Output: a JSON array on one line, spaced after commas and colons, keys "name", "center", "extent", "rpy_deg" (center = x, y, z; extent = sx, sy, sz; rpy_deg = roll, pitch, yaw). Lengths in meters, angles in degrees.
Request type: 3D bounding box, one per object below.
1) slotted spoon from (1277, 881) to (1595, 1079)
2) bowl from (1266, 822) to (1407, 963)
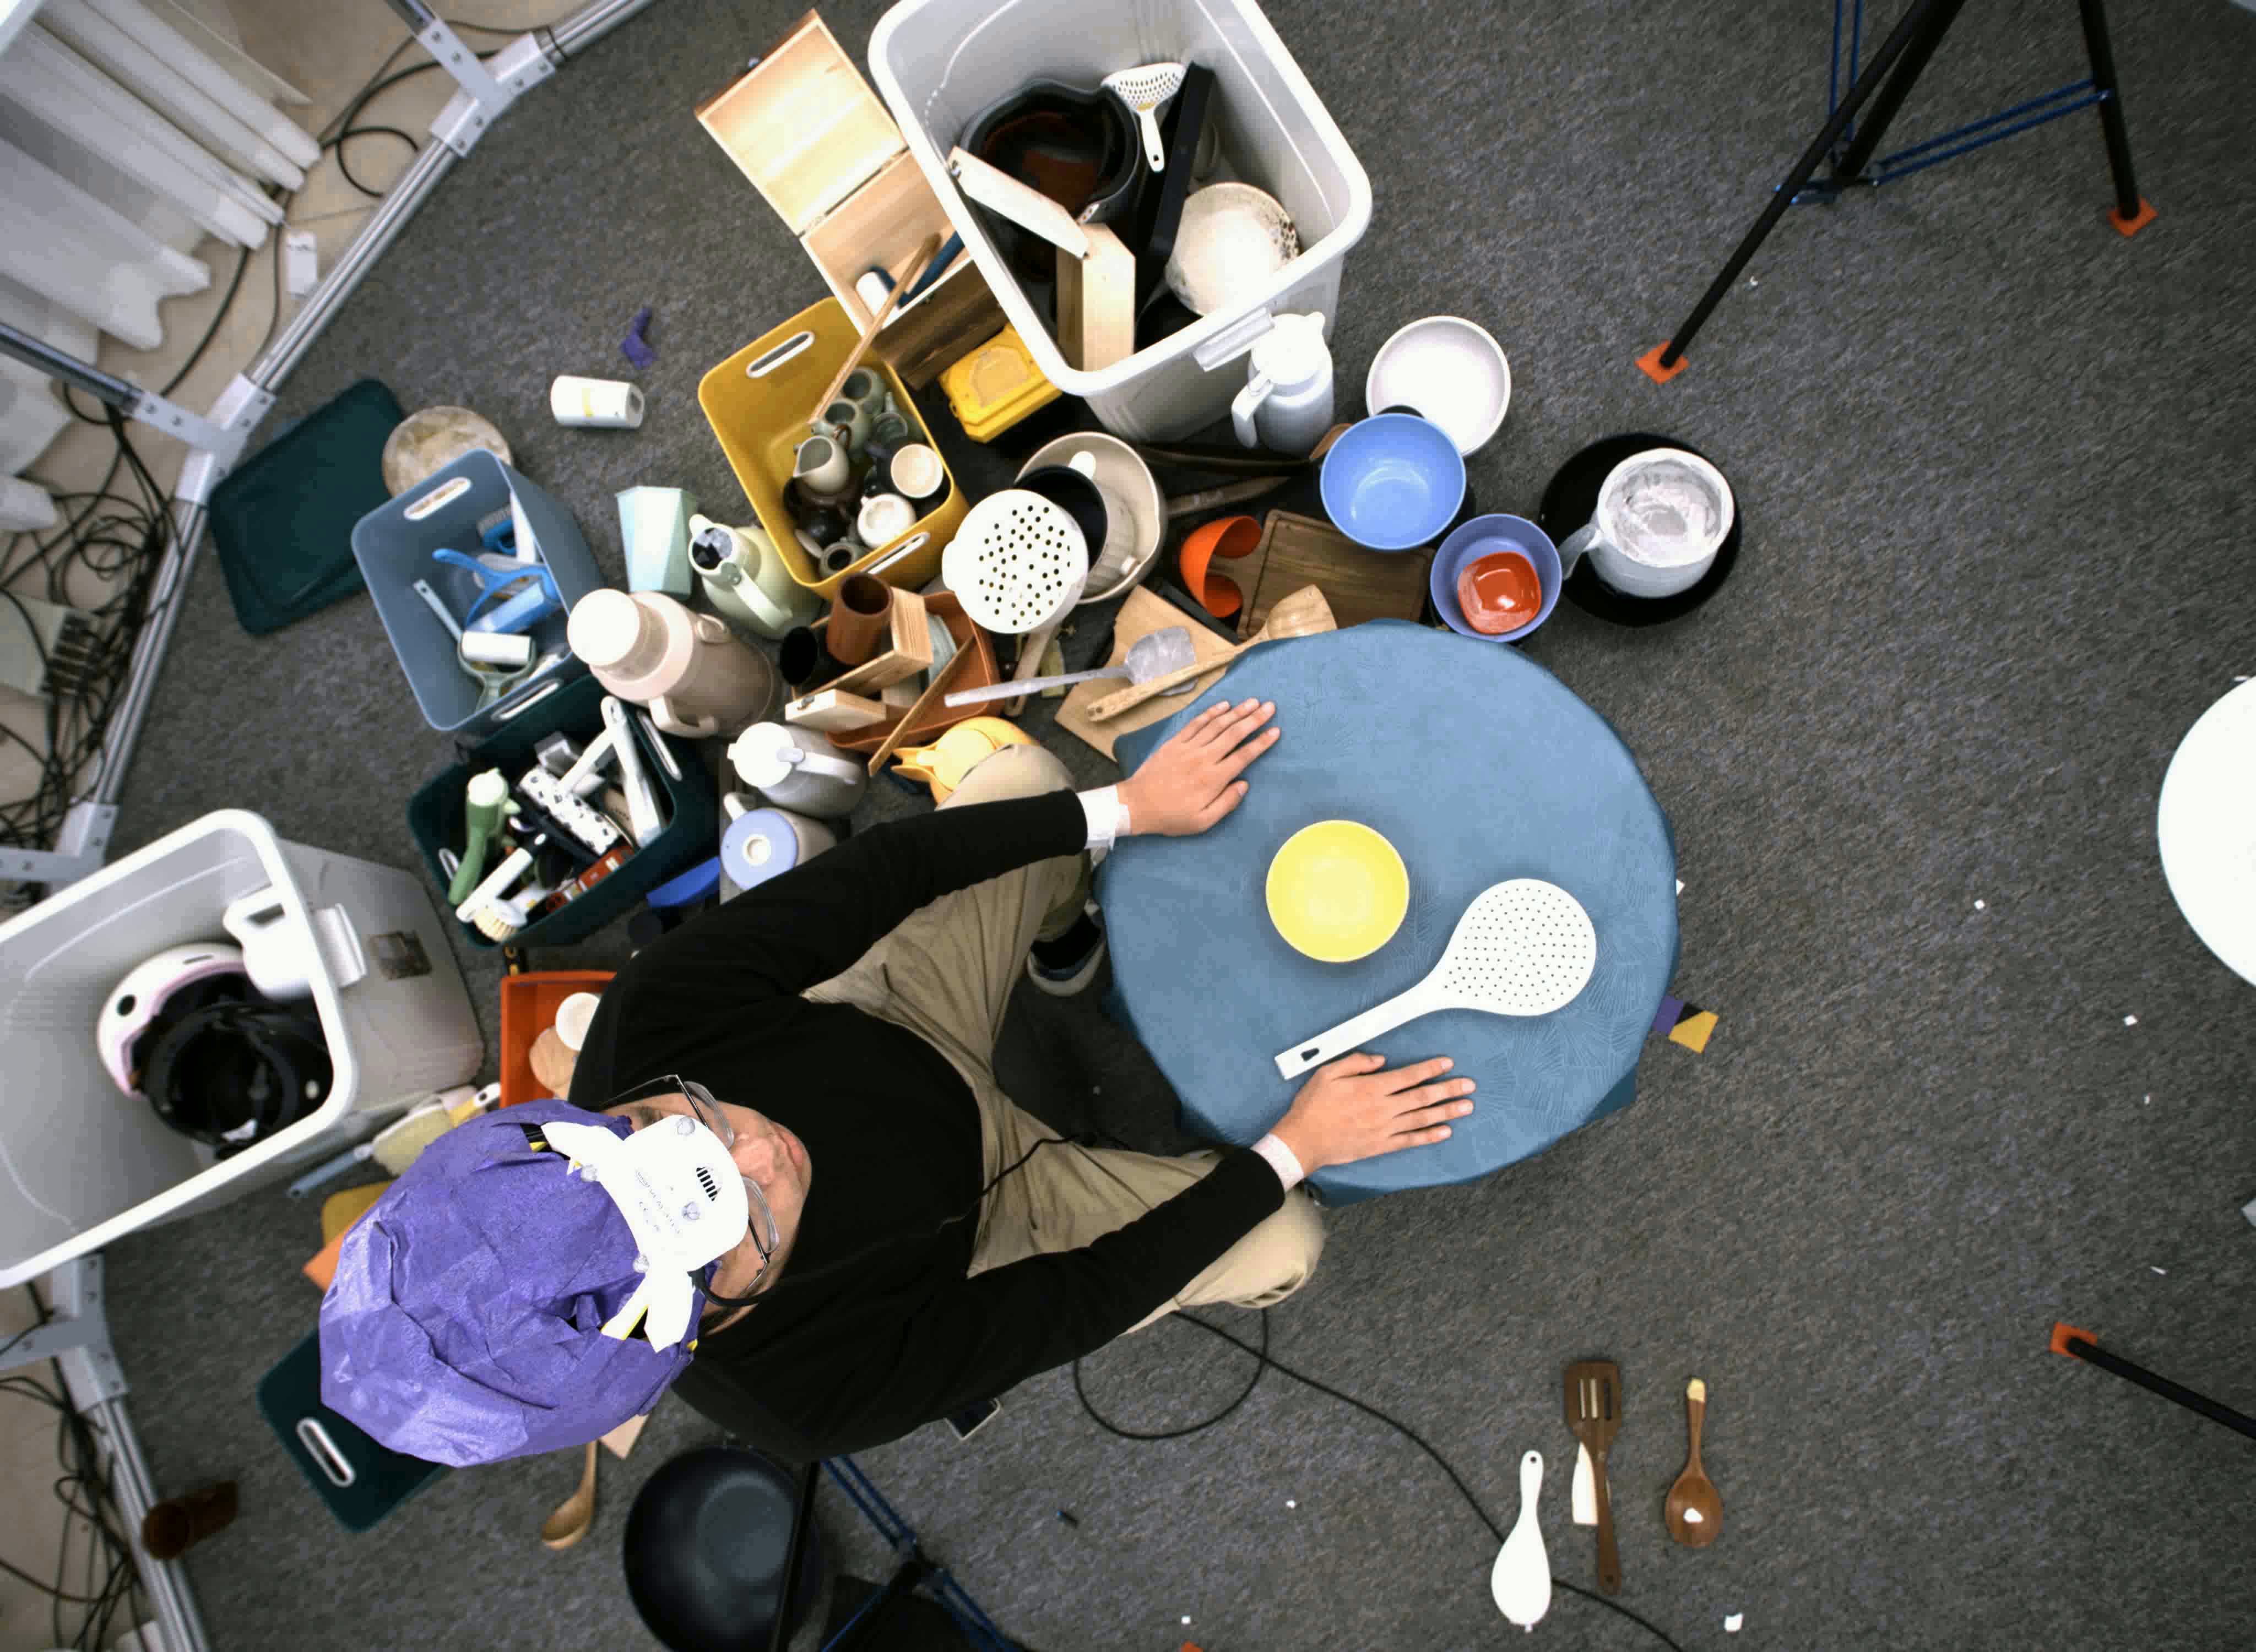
[{"name": "slotted spoon", "center": [0.312, 0.173, 1.423], "extent": [0.352, 0.046, 0.135], "rpy_deg": [-28, 81, 9]}, {"name": "bowl", "center": [0.218, 0.070, 1.442], "extent": [0.146, 0.060, 0.144], "rpy_deg": [-1, 84, 10]}]
